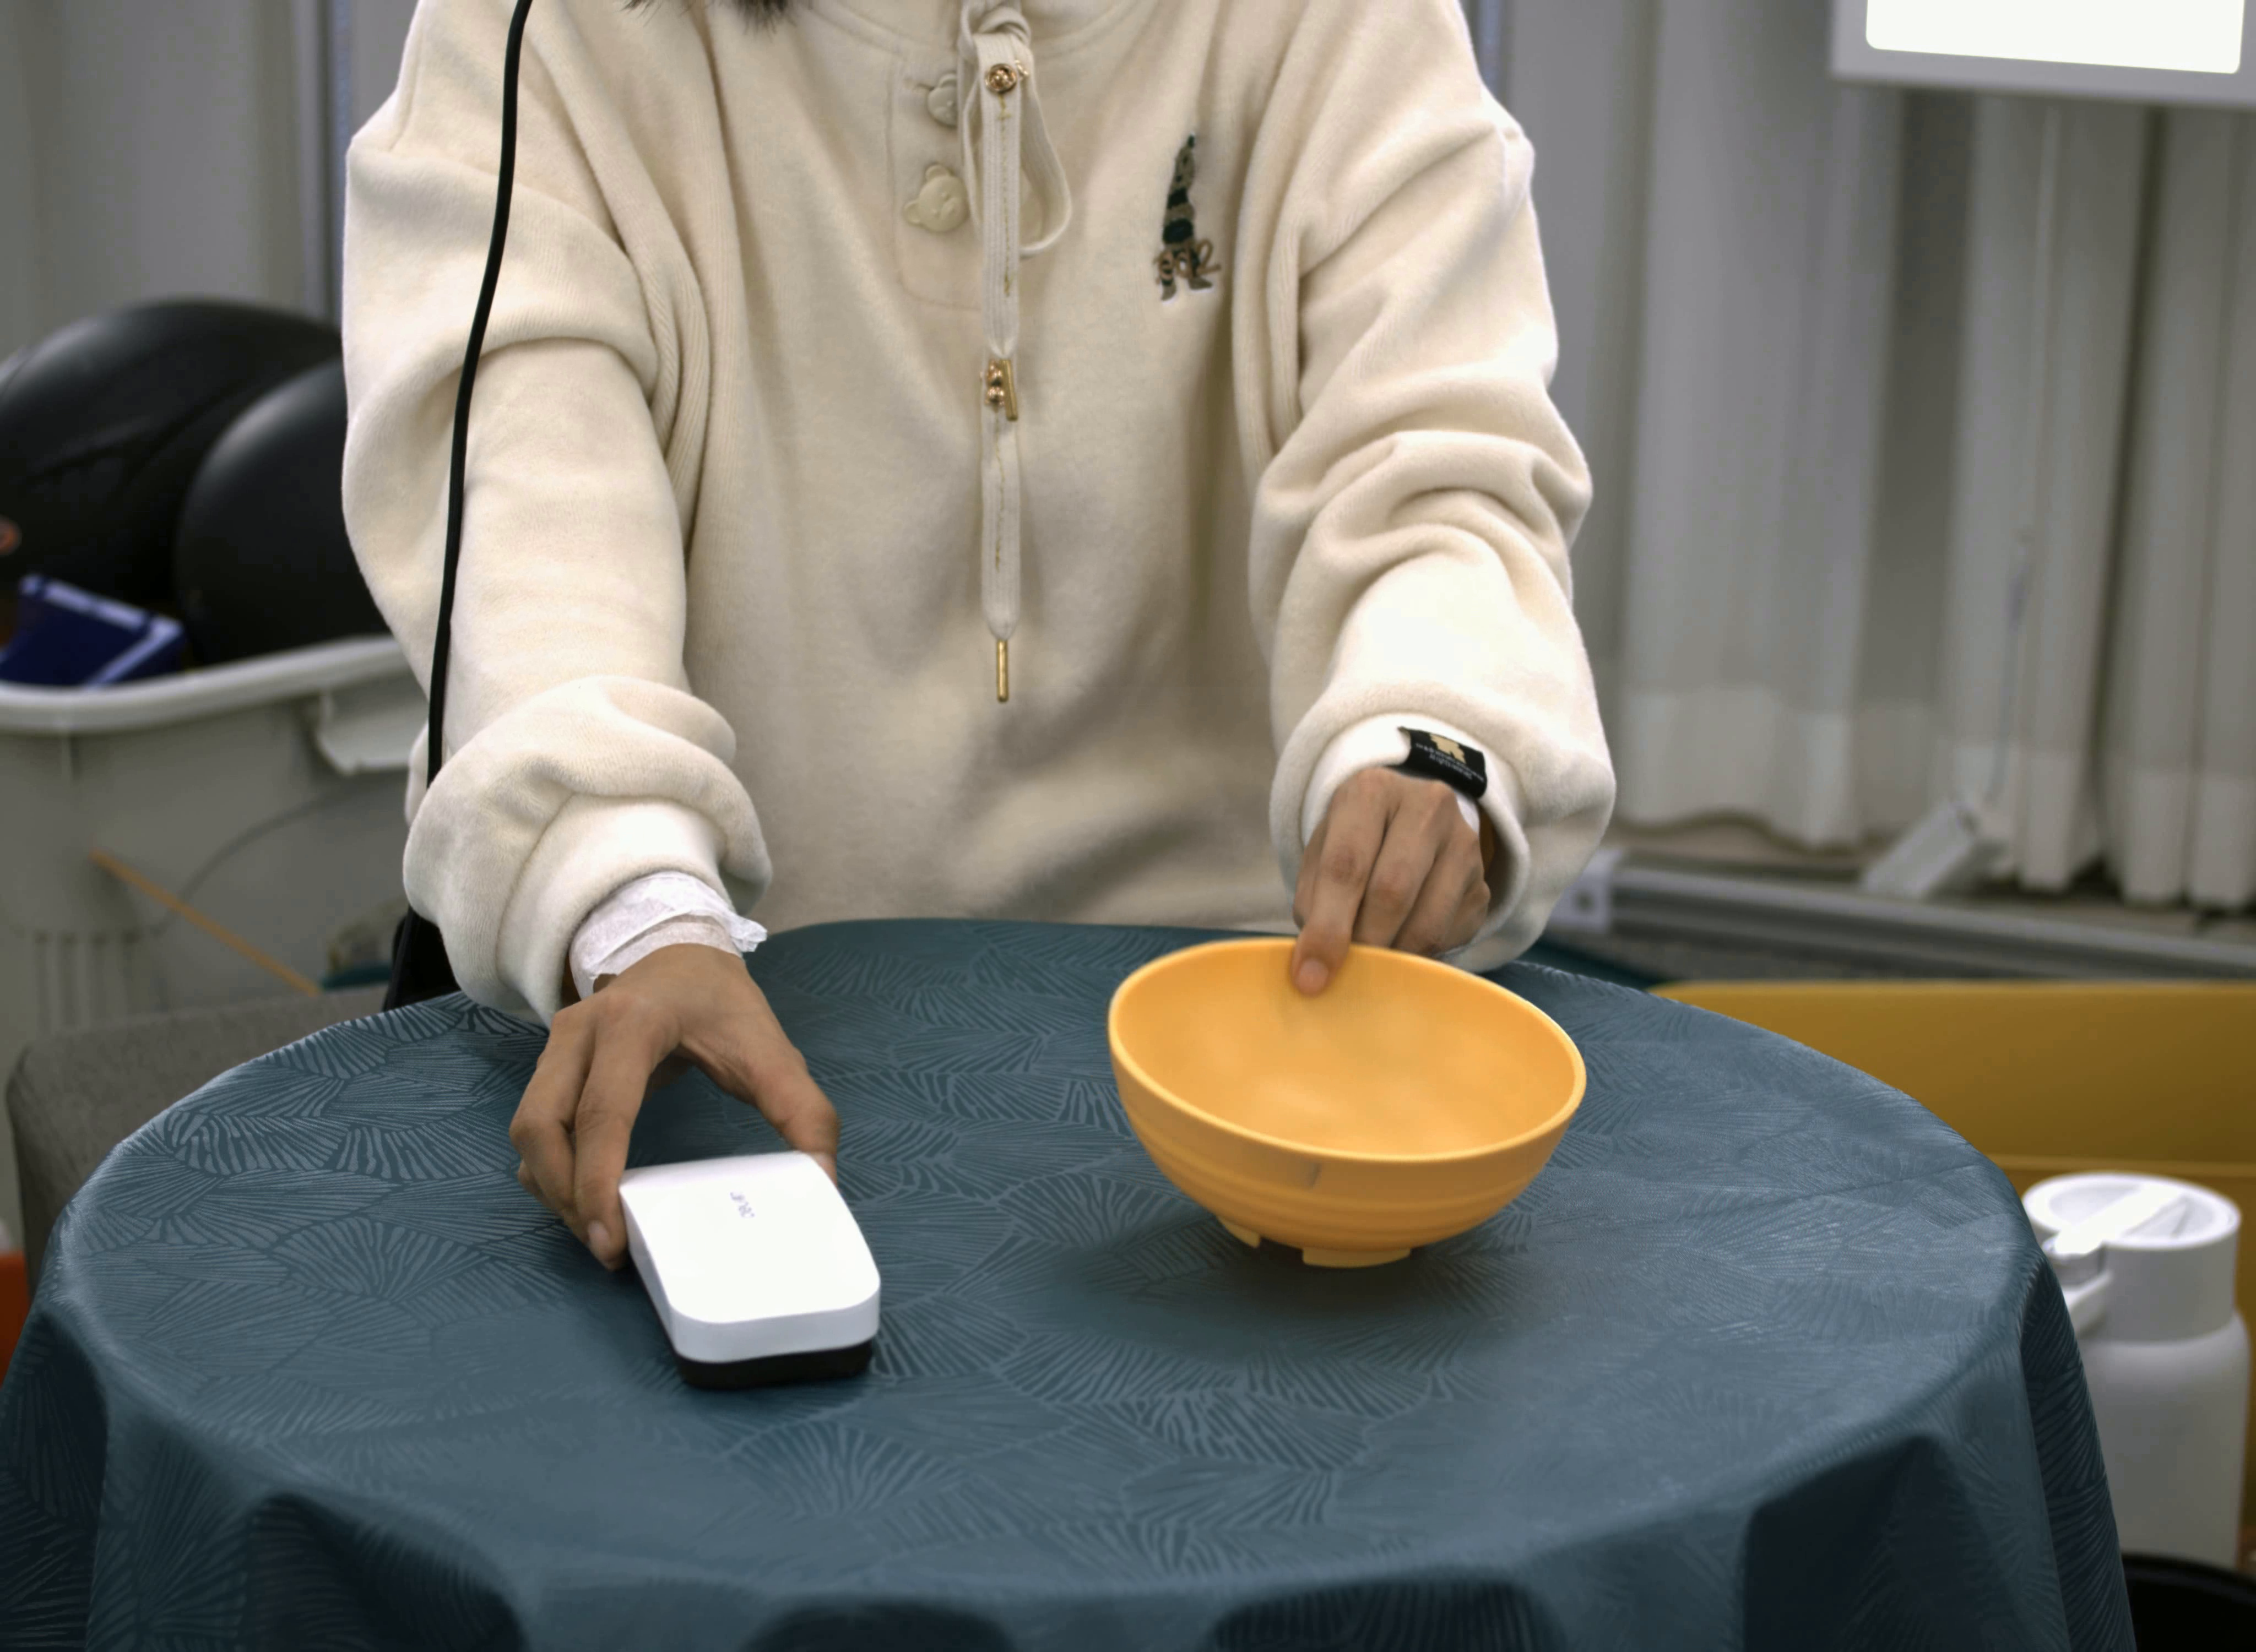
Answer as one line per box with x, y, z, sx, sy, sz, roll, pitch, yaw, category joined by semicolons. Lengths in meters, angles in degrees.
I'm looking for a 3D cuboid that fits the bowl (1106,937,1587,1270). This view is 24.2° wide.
0.062;0.091;1.572;0.145;0.060;0.144;6;25;-2;bowl

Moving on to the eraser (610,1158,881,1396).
-0.110;0.125;1.512;0.063;0.035;0.130;-5;17;-13;eraser
